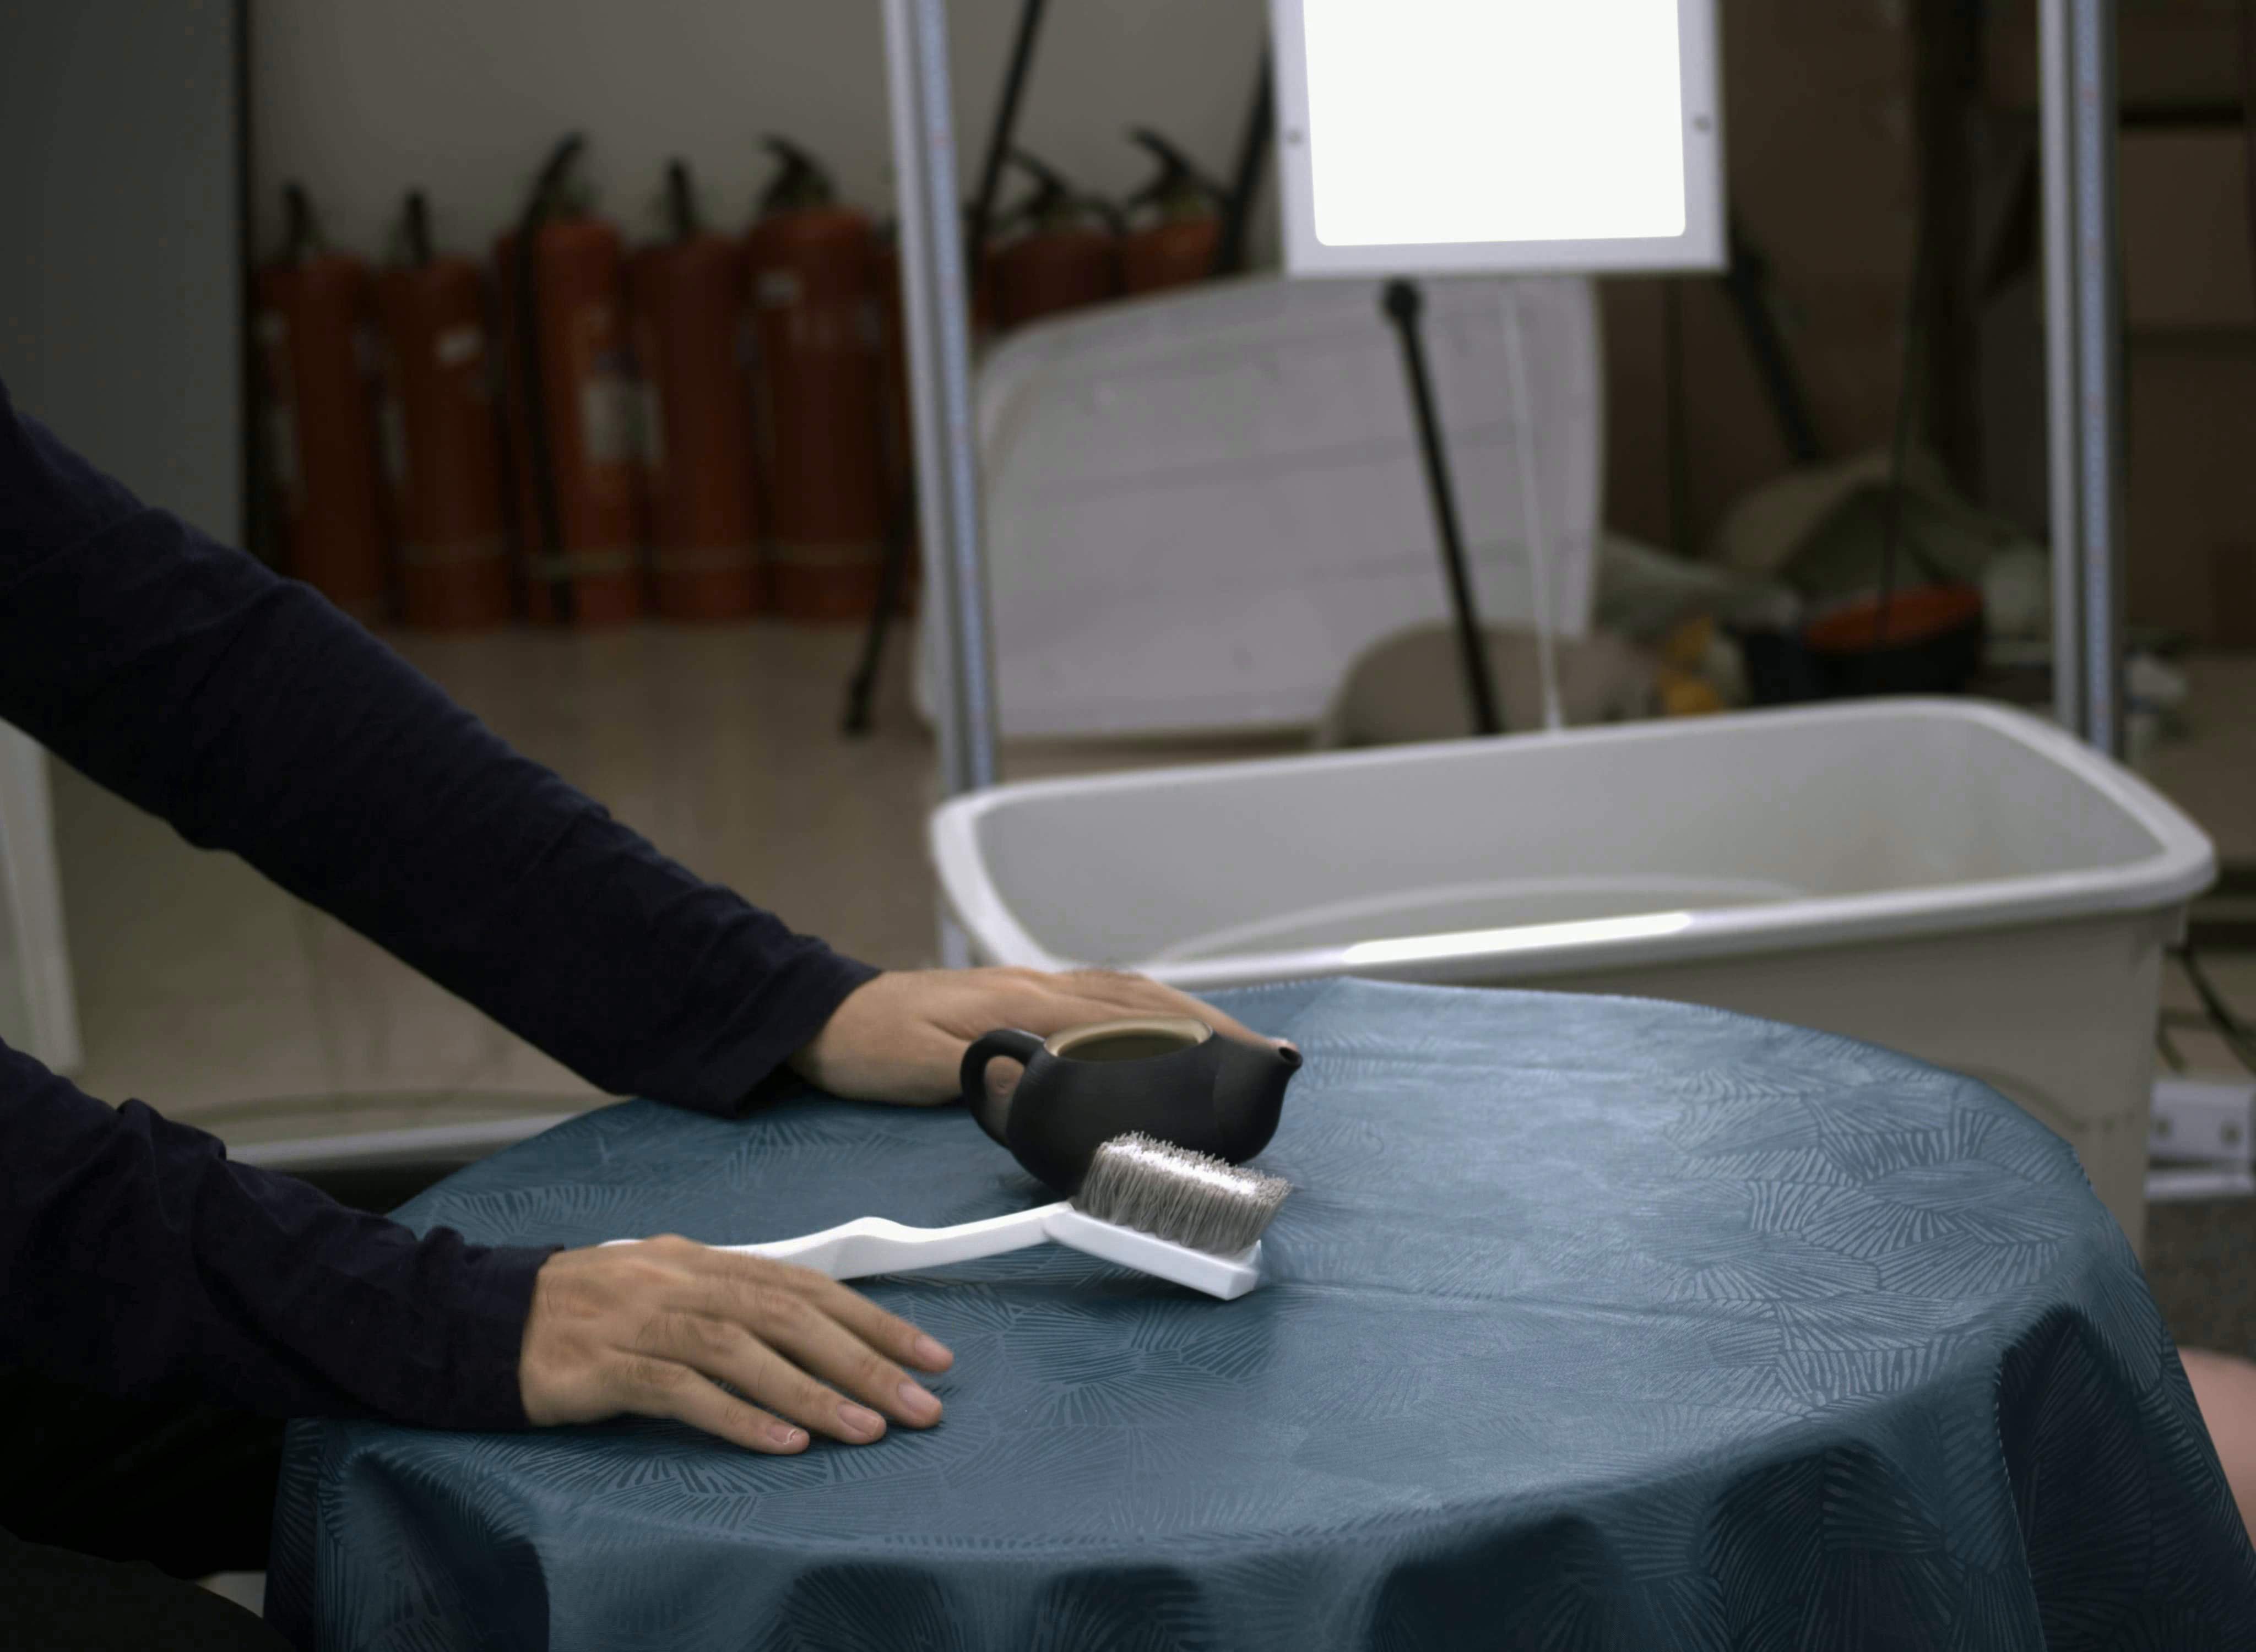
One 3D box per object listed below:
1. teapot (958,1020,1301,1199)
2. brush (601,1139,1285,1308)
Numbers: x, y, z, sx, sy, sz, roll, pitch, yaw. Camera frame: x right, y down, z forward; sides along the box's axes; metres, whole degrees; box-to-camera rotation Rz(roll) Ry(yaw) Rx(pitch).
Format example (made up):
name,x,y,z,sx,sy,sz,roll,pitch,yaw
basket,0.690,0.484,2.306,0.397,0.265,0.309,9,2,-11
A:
name,x,y,z,sx,sy,sz,roll,pitch,yaw
teapot,0.001,0.098,1.903,0.135,0.053,0.089,2,12,29
brush,-0.065,0.127,1.821,0.247,0.050,0.034,1,17,23
